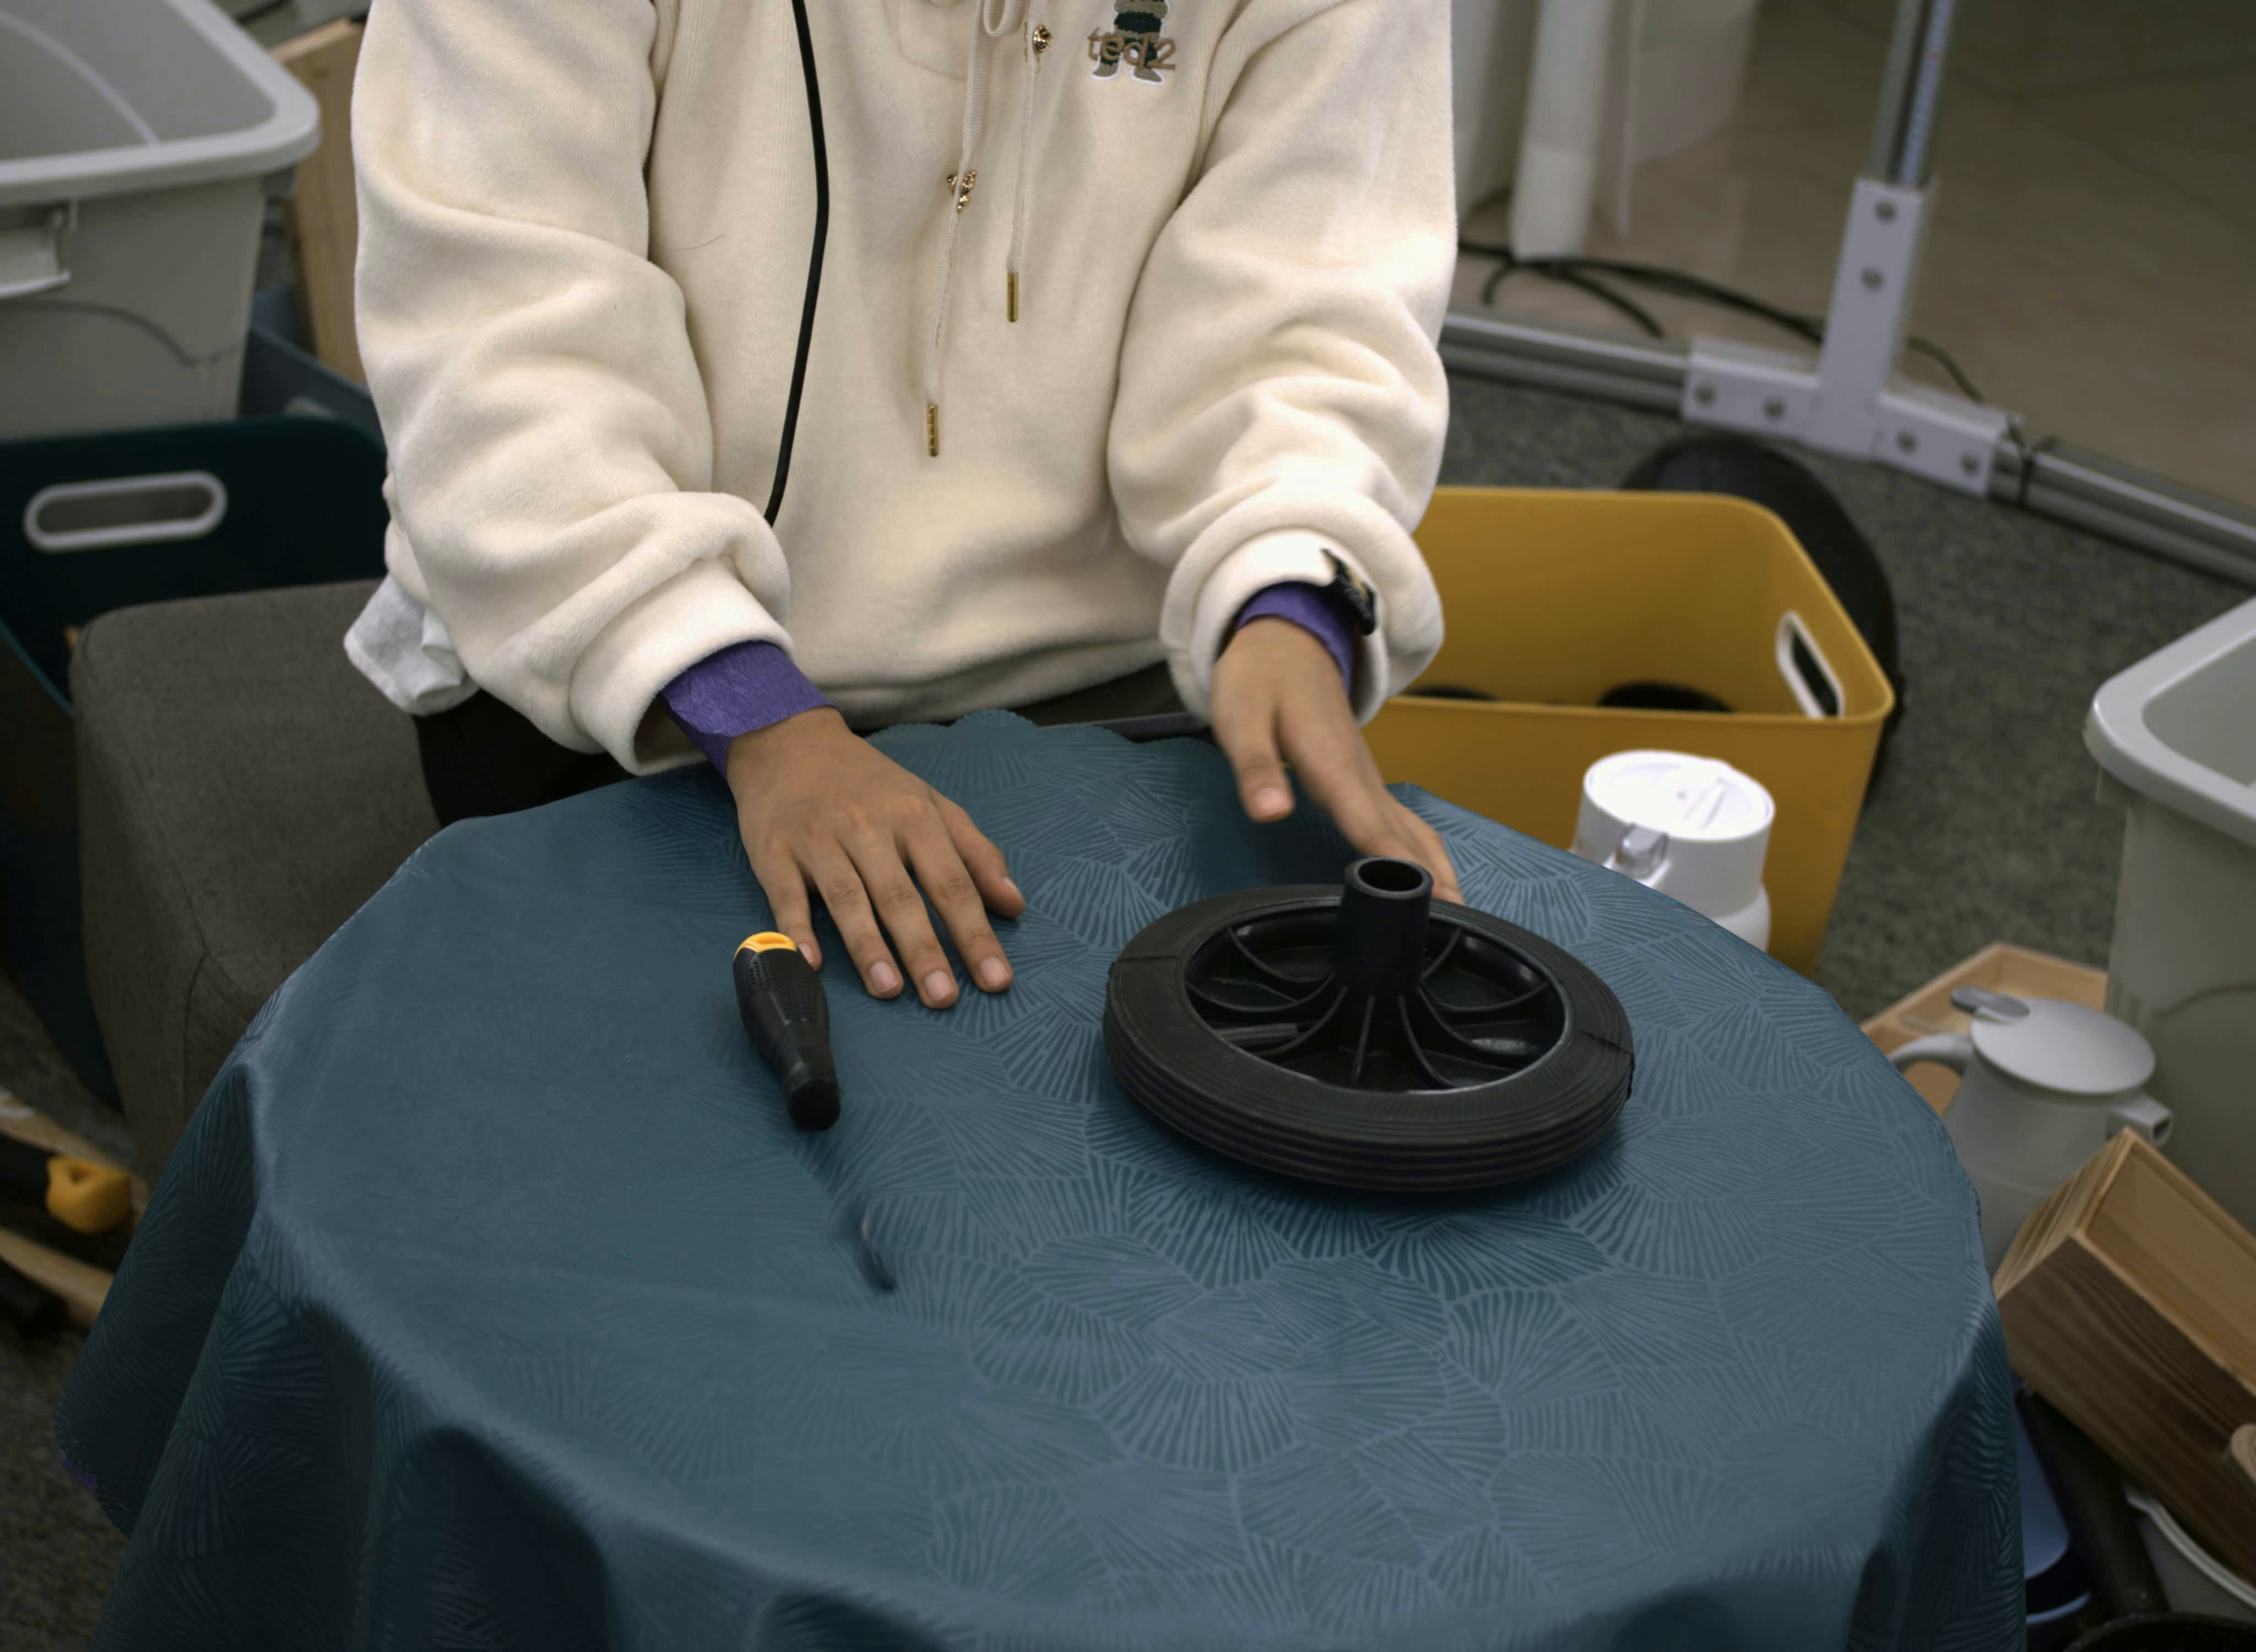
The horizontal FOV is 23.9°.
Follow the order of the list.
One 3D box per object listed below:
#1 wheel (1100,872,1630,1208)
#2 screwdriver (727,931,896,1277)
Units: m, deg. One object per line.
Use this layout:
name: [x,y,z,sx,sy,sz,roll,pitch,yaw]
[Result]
wheel: [0.085,0.058,1.868,0.189,0.079,0.189,-22,38,-38]
screwdriver: [-0.108,0.095,1.807,0.031,0.031,0.199,0,30,-15]
